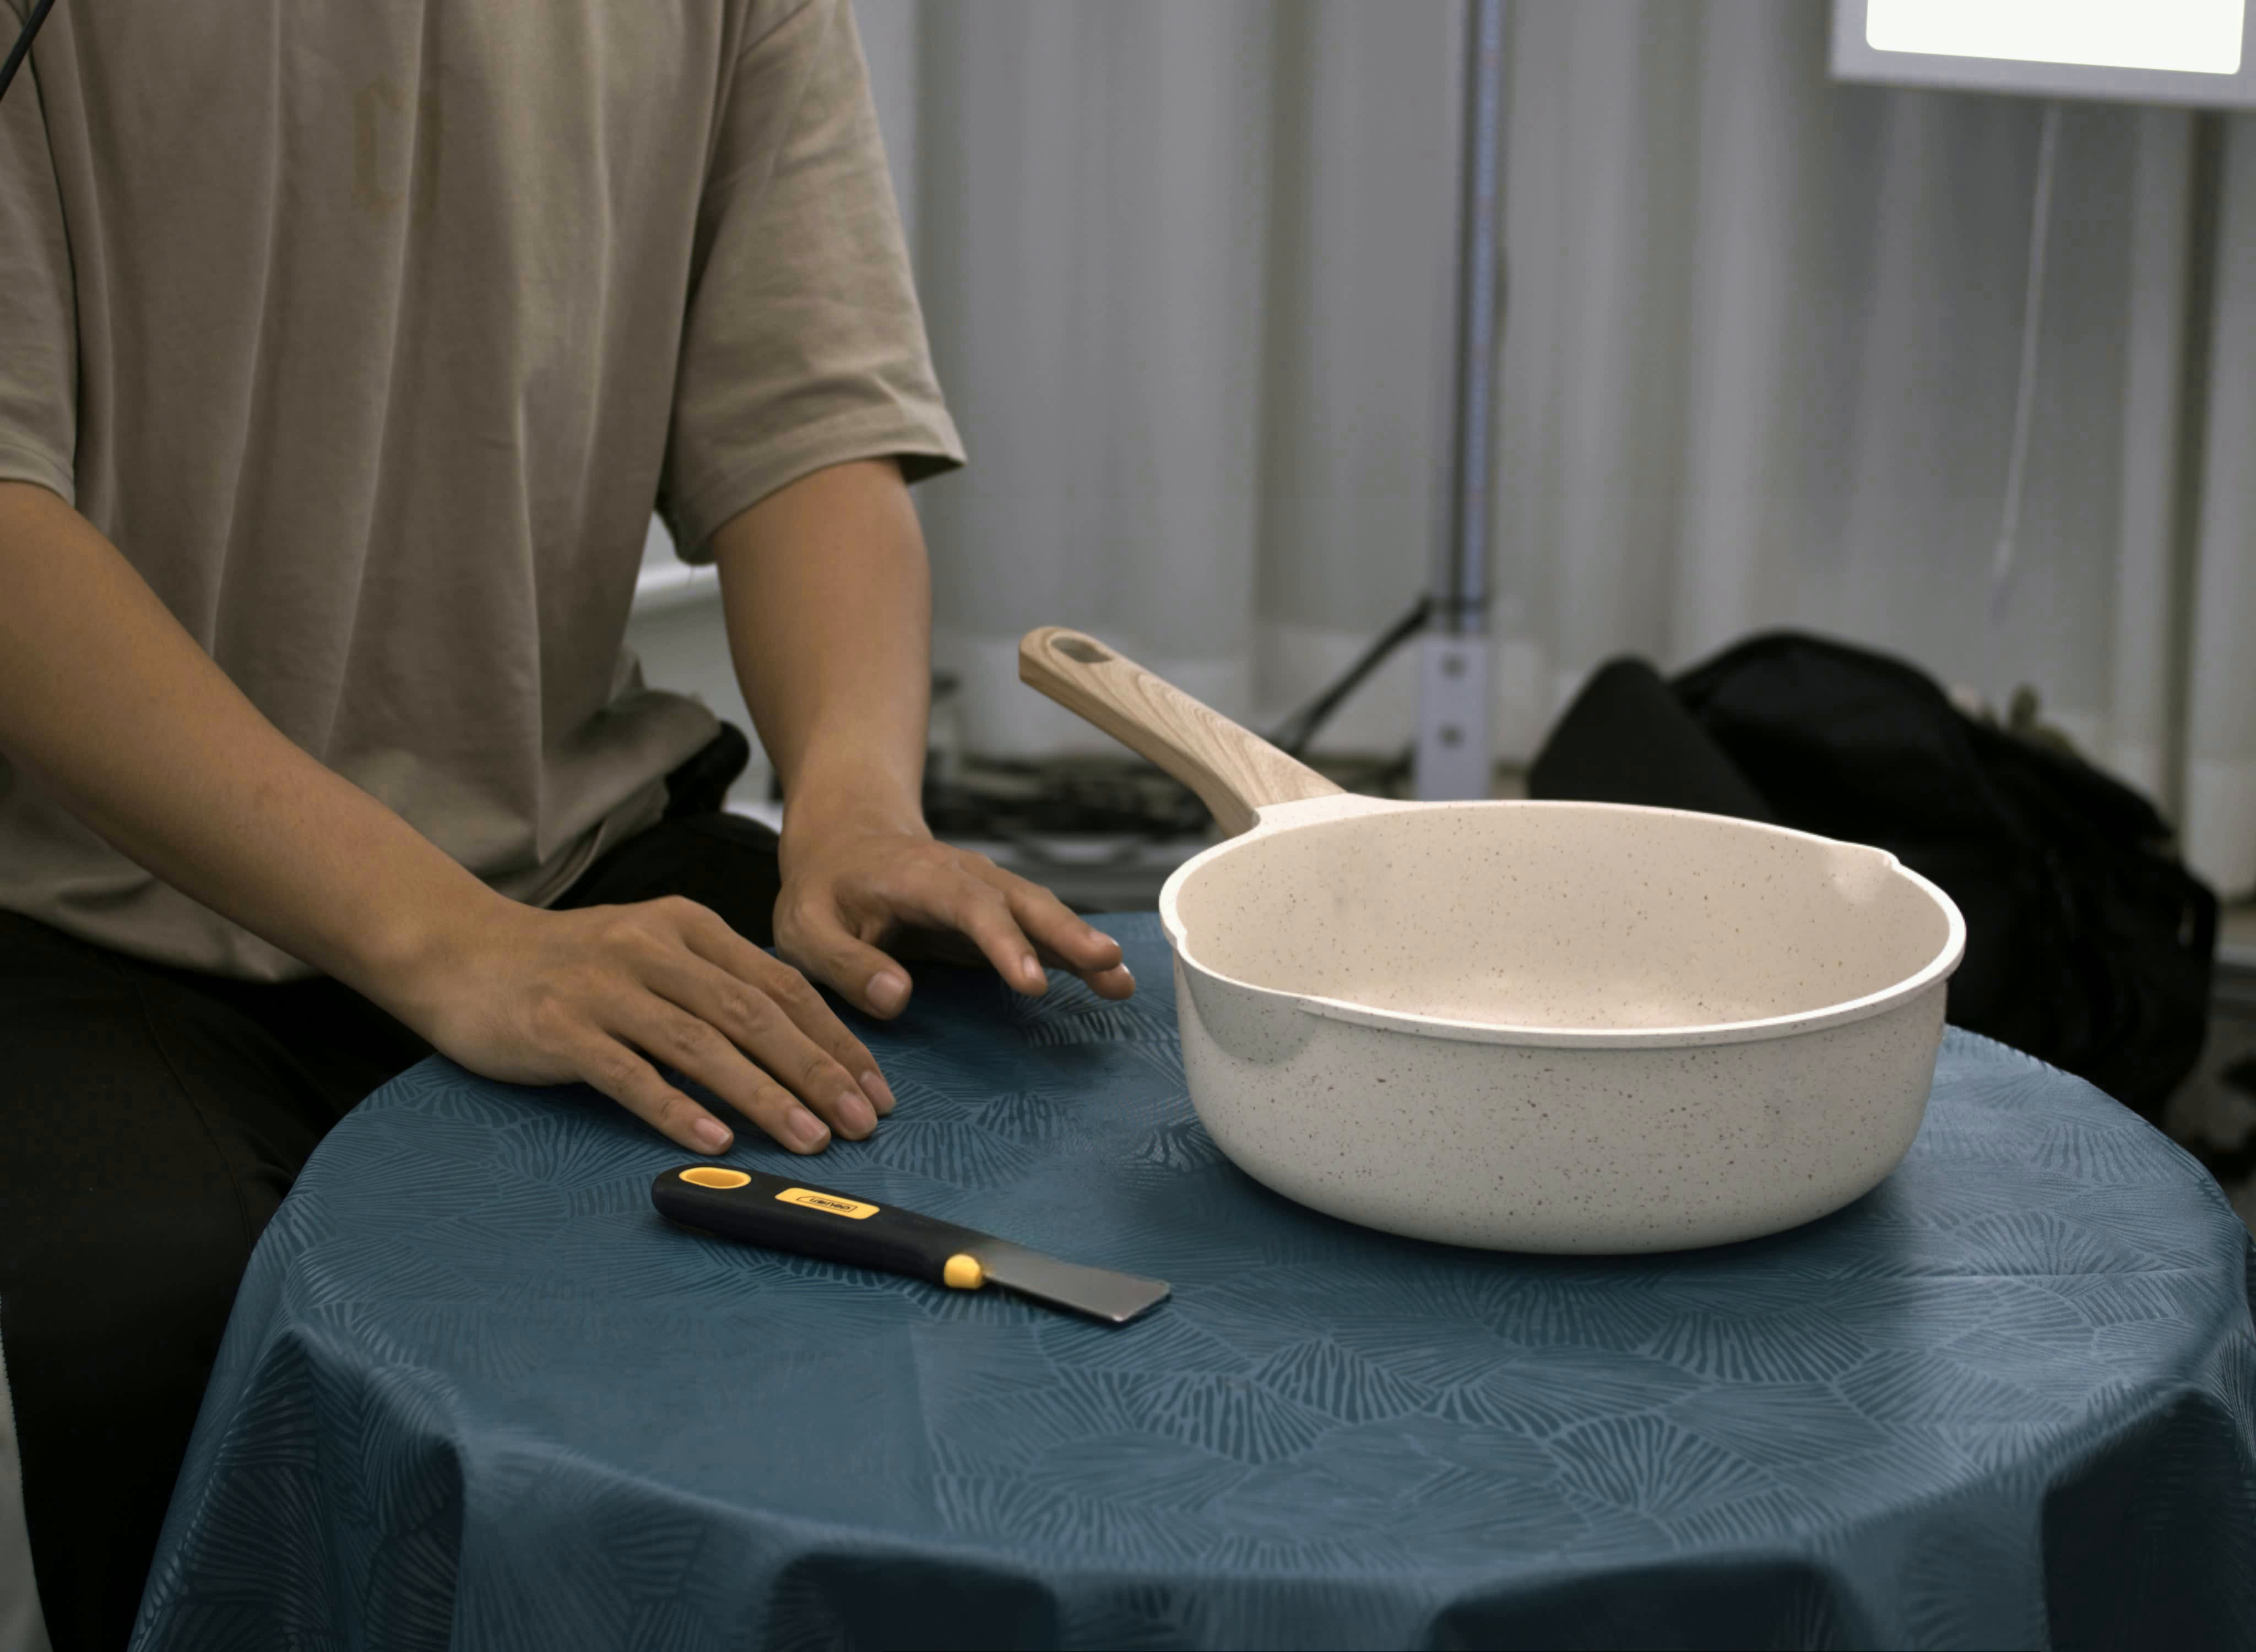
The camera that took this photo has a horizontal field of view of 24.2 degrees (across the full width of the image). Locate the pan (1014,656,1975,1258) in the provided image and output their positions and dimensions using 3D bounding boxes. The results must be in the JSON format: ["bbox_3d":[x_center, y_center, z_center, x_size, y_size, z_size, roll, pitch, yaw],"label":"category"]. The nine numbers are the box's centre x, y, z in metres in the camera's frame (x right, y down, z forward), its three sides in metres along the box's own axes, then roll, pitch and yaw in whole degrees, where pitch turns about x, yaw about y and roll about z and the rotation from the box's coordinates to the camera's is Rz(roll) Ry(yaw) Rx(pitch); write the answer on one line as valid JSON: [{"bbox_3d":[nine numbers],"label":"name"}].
[{"bbox_3d":[0.089,0.037,1.728,0.264,0.103,0.429,-12,20,-31],"label":"pan"}]

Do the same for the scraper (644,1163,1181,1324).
[{"bbox_3d":[-0.068,0.123,1.555,0.169,0.015,0.039,11,23,24],"label":"scraper"}]
